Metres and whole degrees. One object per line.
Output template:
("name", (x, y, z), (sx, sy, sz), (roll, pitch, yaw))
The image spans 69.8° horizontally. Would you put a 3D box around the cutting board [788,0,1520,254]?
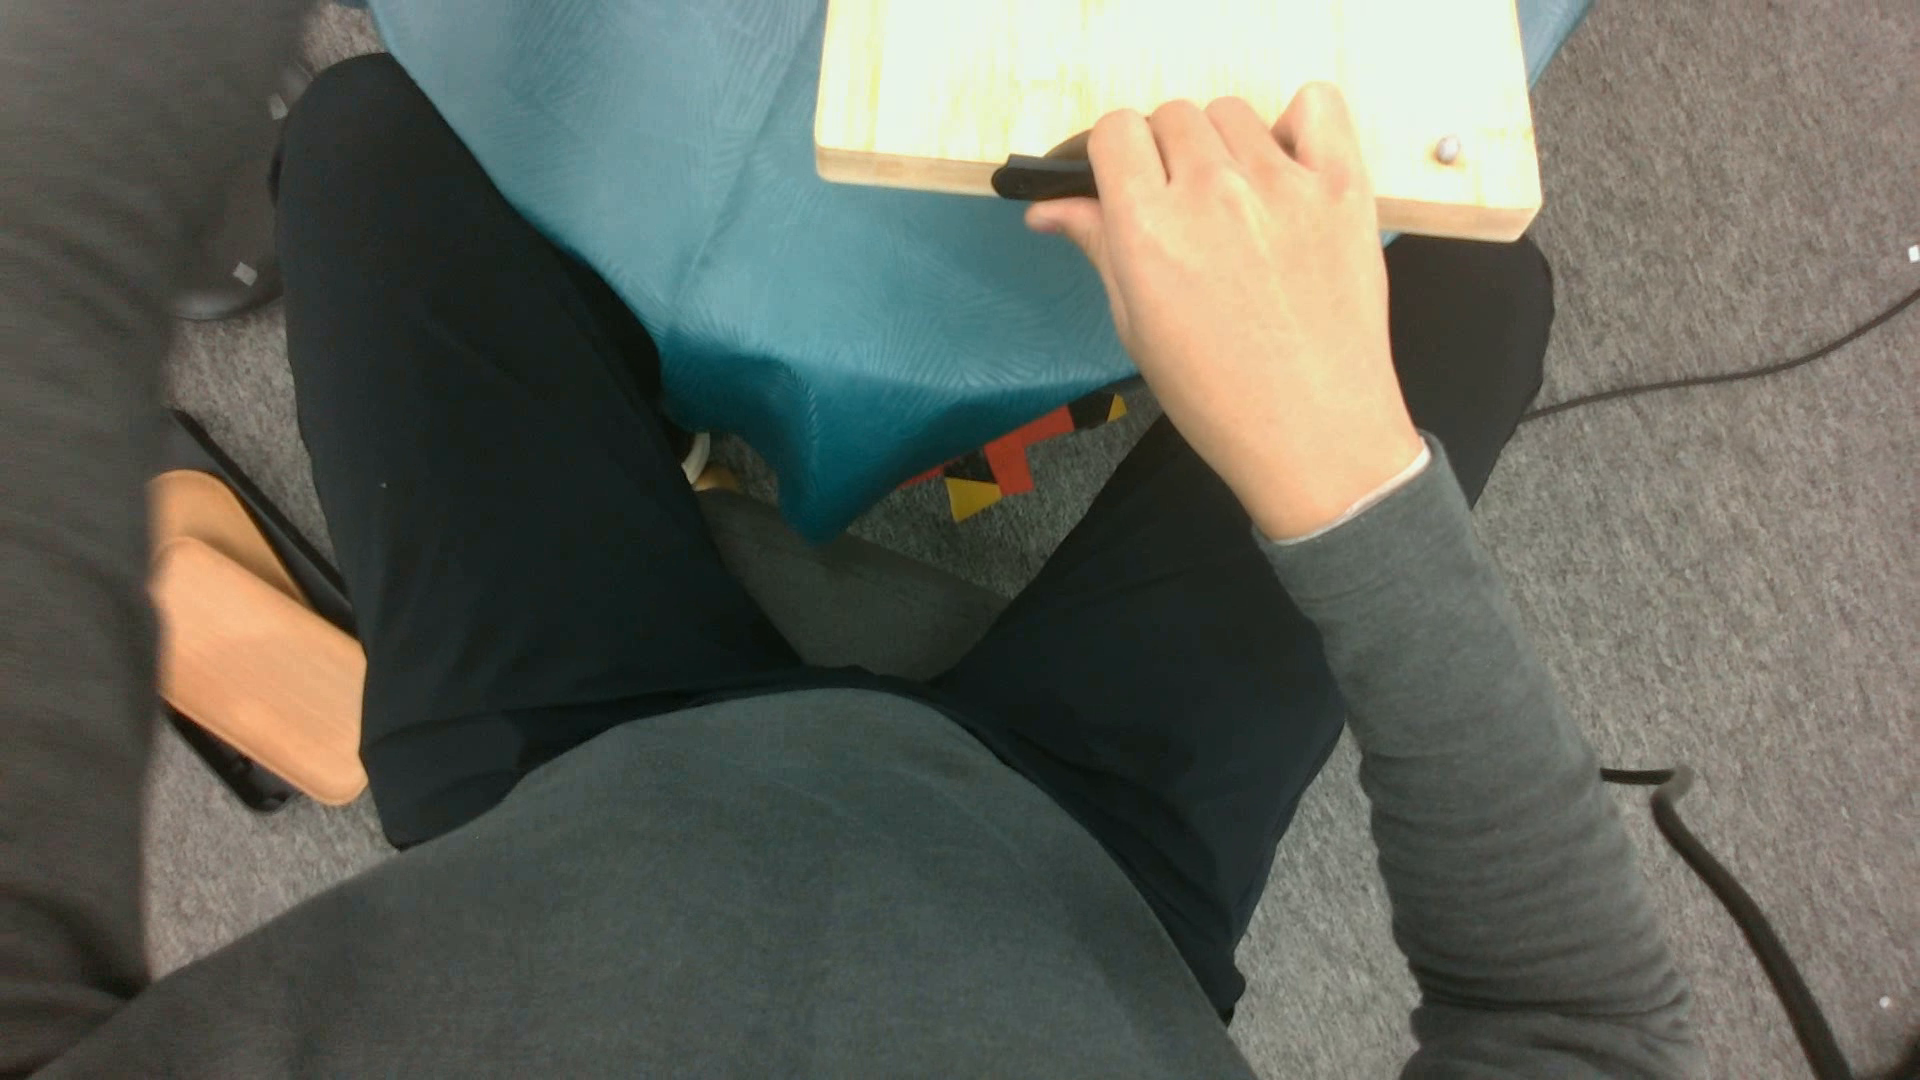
("cutting board", (0.075, -0.265, 0.530), (0.251, 0.023, 0.350), (4, 65, -3))
